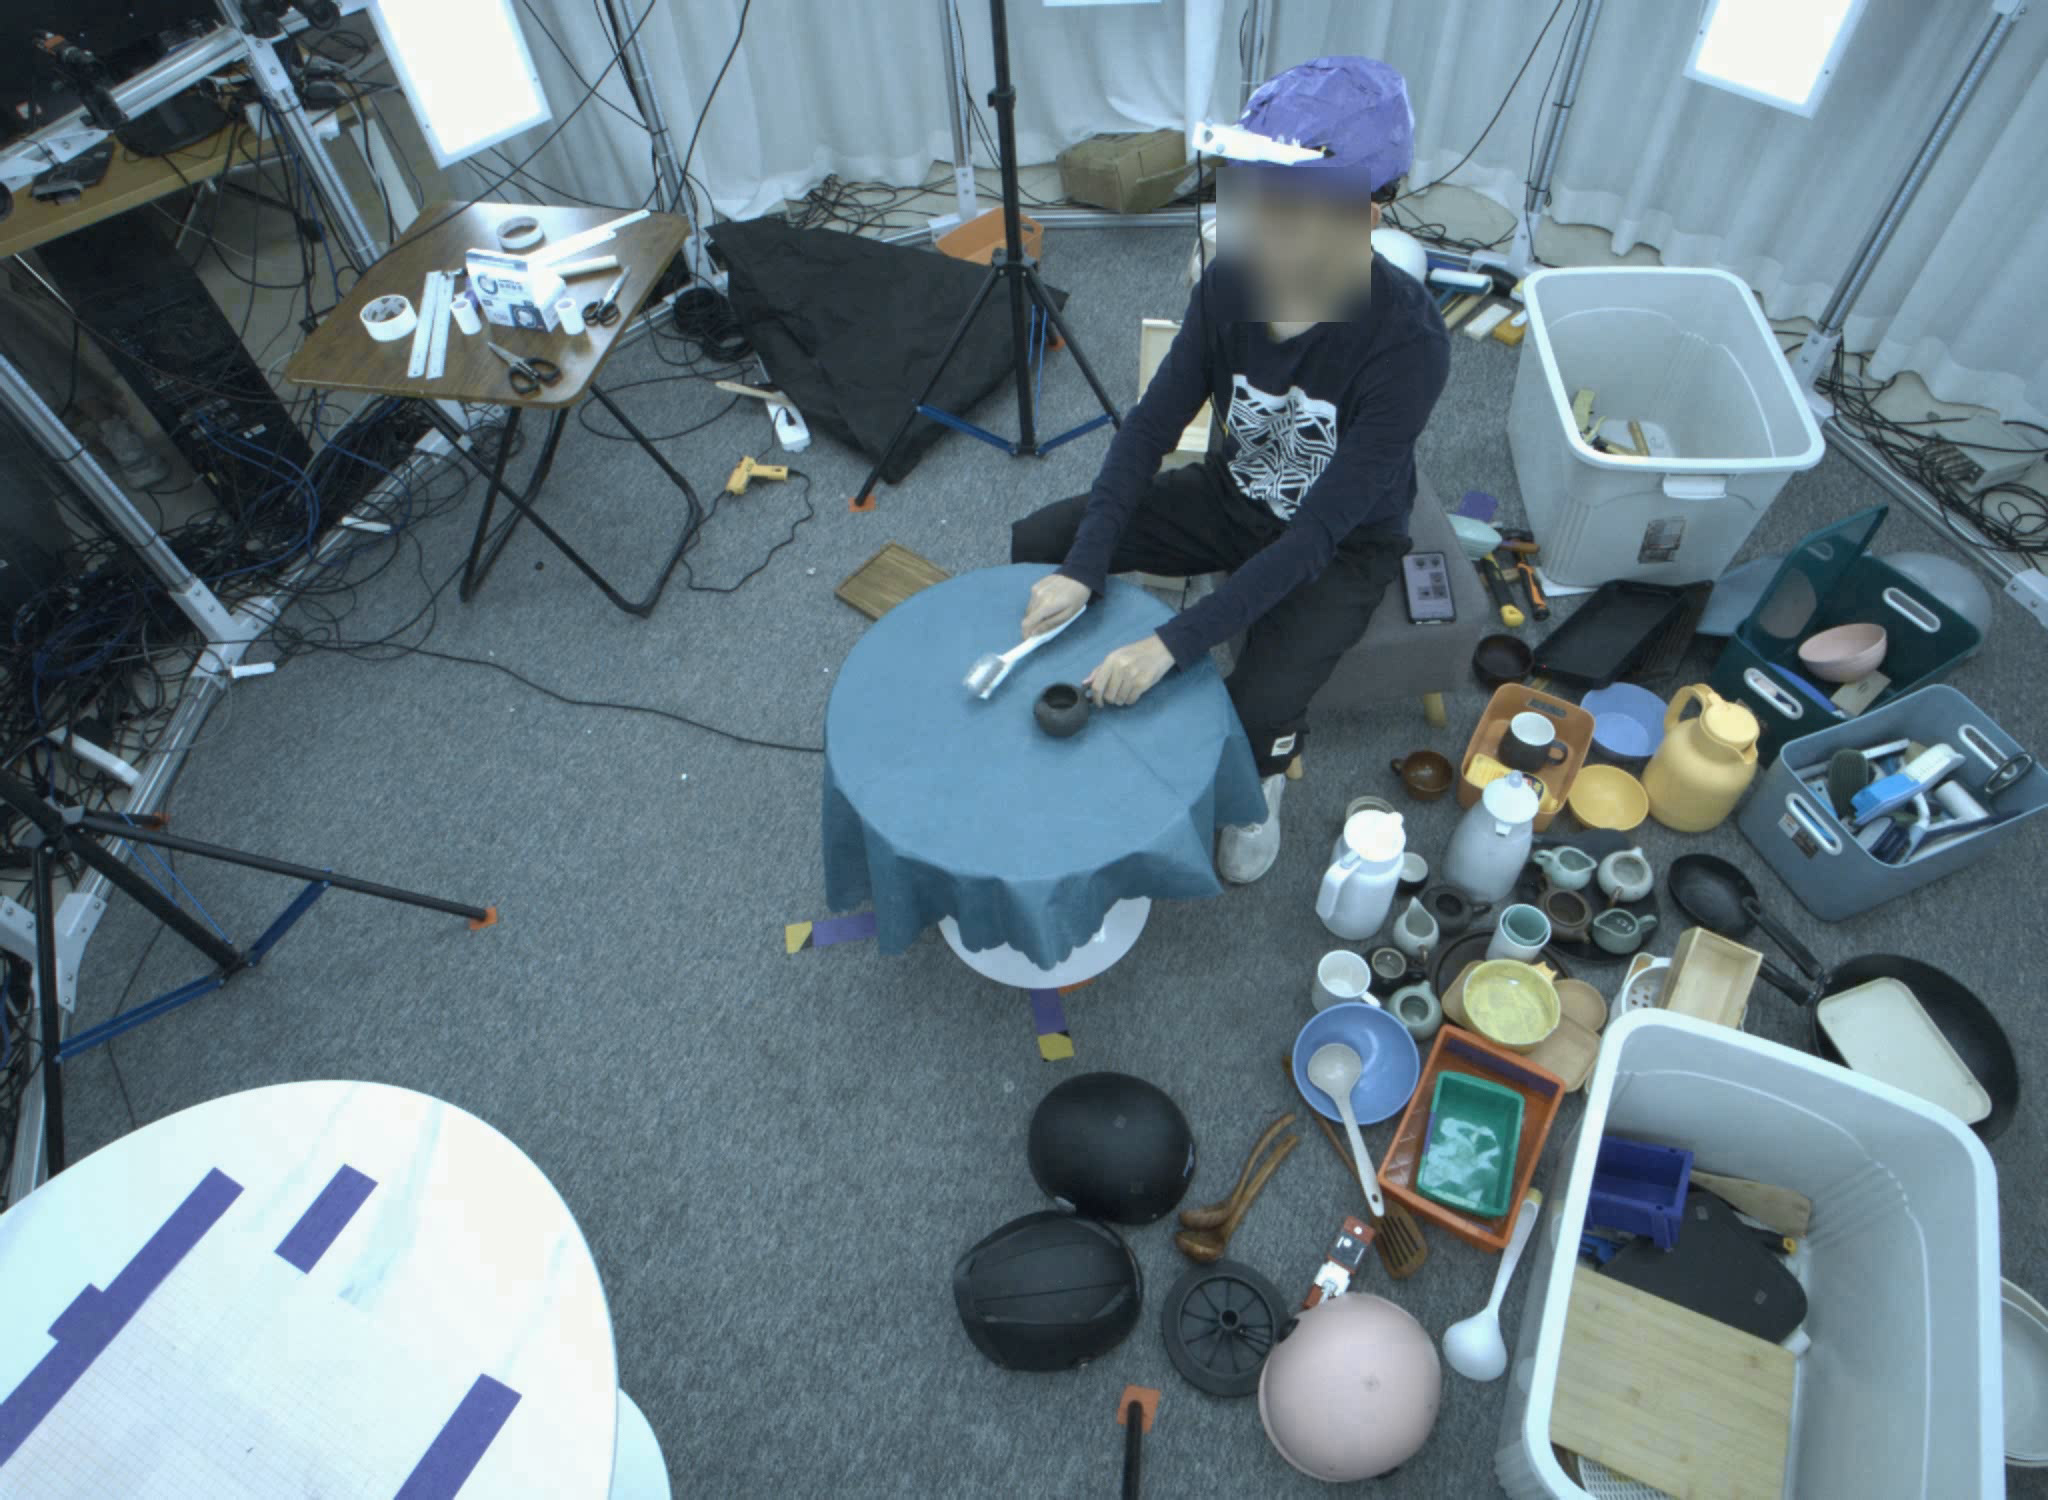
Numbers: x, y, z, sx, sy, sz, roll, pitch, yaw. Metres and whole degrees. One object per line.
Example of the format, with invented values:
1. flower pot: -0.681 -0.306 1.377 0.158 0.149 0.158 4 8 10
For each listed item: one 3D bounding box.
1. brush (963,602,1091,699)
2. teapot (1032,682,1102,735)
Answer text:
1. brush: 0.007 -0.163 1.855 0.245 0.051 0.033 -40 57 -17
2. teapot: 0.064 -0.067 1.794 0.115 0.053 0.081 -25 56 -15
